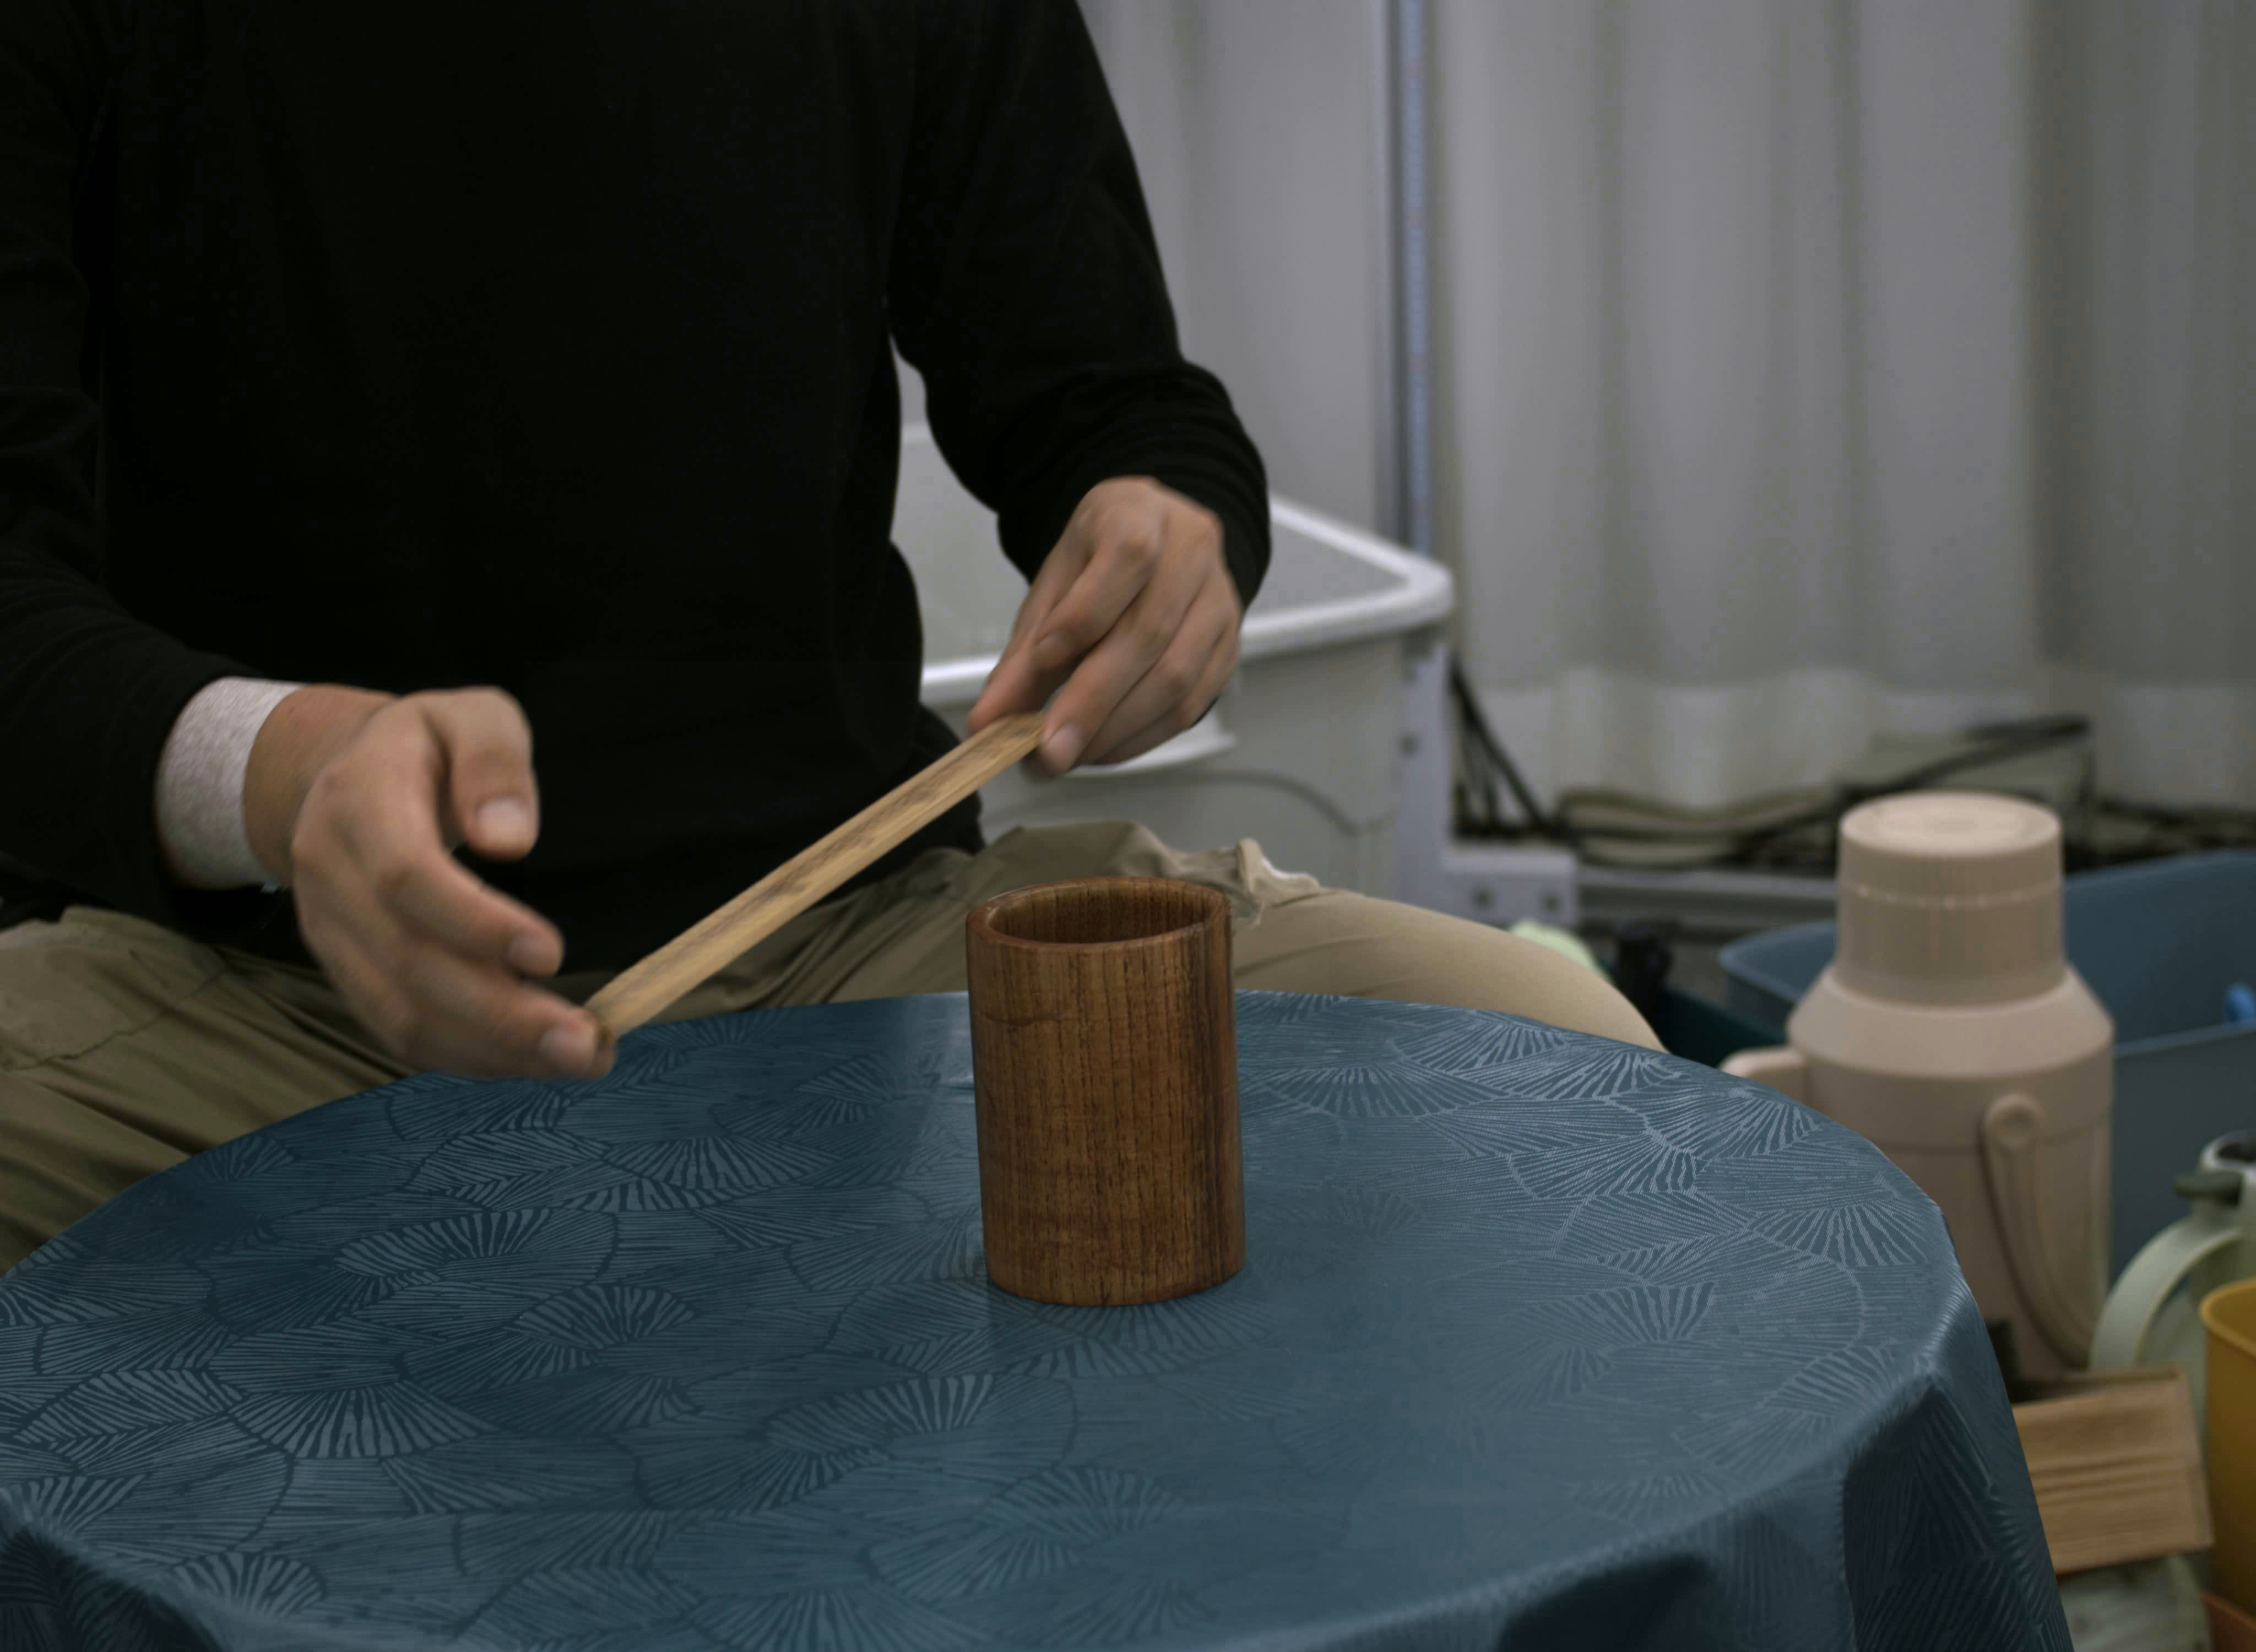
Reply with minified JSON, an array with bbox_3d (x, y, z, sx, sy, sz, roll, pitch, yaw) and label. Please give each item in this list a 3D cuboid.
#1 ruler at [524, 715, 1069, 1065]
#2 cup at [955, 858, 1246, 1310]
[{"bbox_3d":[-0.093,0.013,1.637,0.027,0.022,0.333,0,16,23],"label":"ruler"},{"bbox_3d":[-0.007,0.076,1.634,0.087,0.118,0.088,-2,13,0],"label":"cup"}]
